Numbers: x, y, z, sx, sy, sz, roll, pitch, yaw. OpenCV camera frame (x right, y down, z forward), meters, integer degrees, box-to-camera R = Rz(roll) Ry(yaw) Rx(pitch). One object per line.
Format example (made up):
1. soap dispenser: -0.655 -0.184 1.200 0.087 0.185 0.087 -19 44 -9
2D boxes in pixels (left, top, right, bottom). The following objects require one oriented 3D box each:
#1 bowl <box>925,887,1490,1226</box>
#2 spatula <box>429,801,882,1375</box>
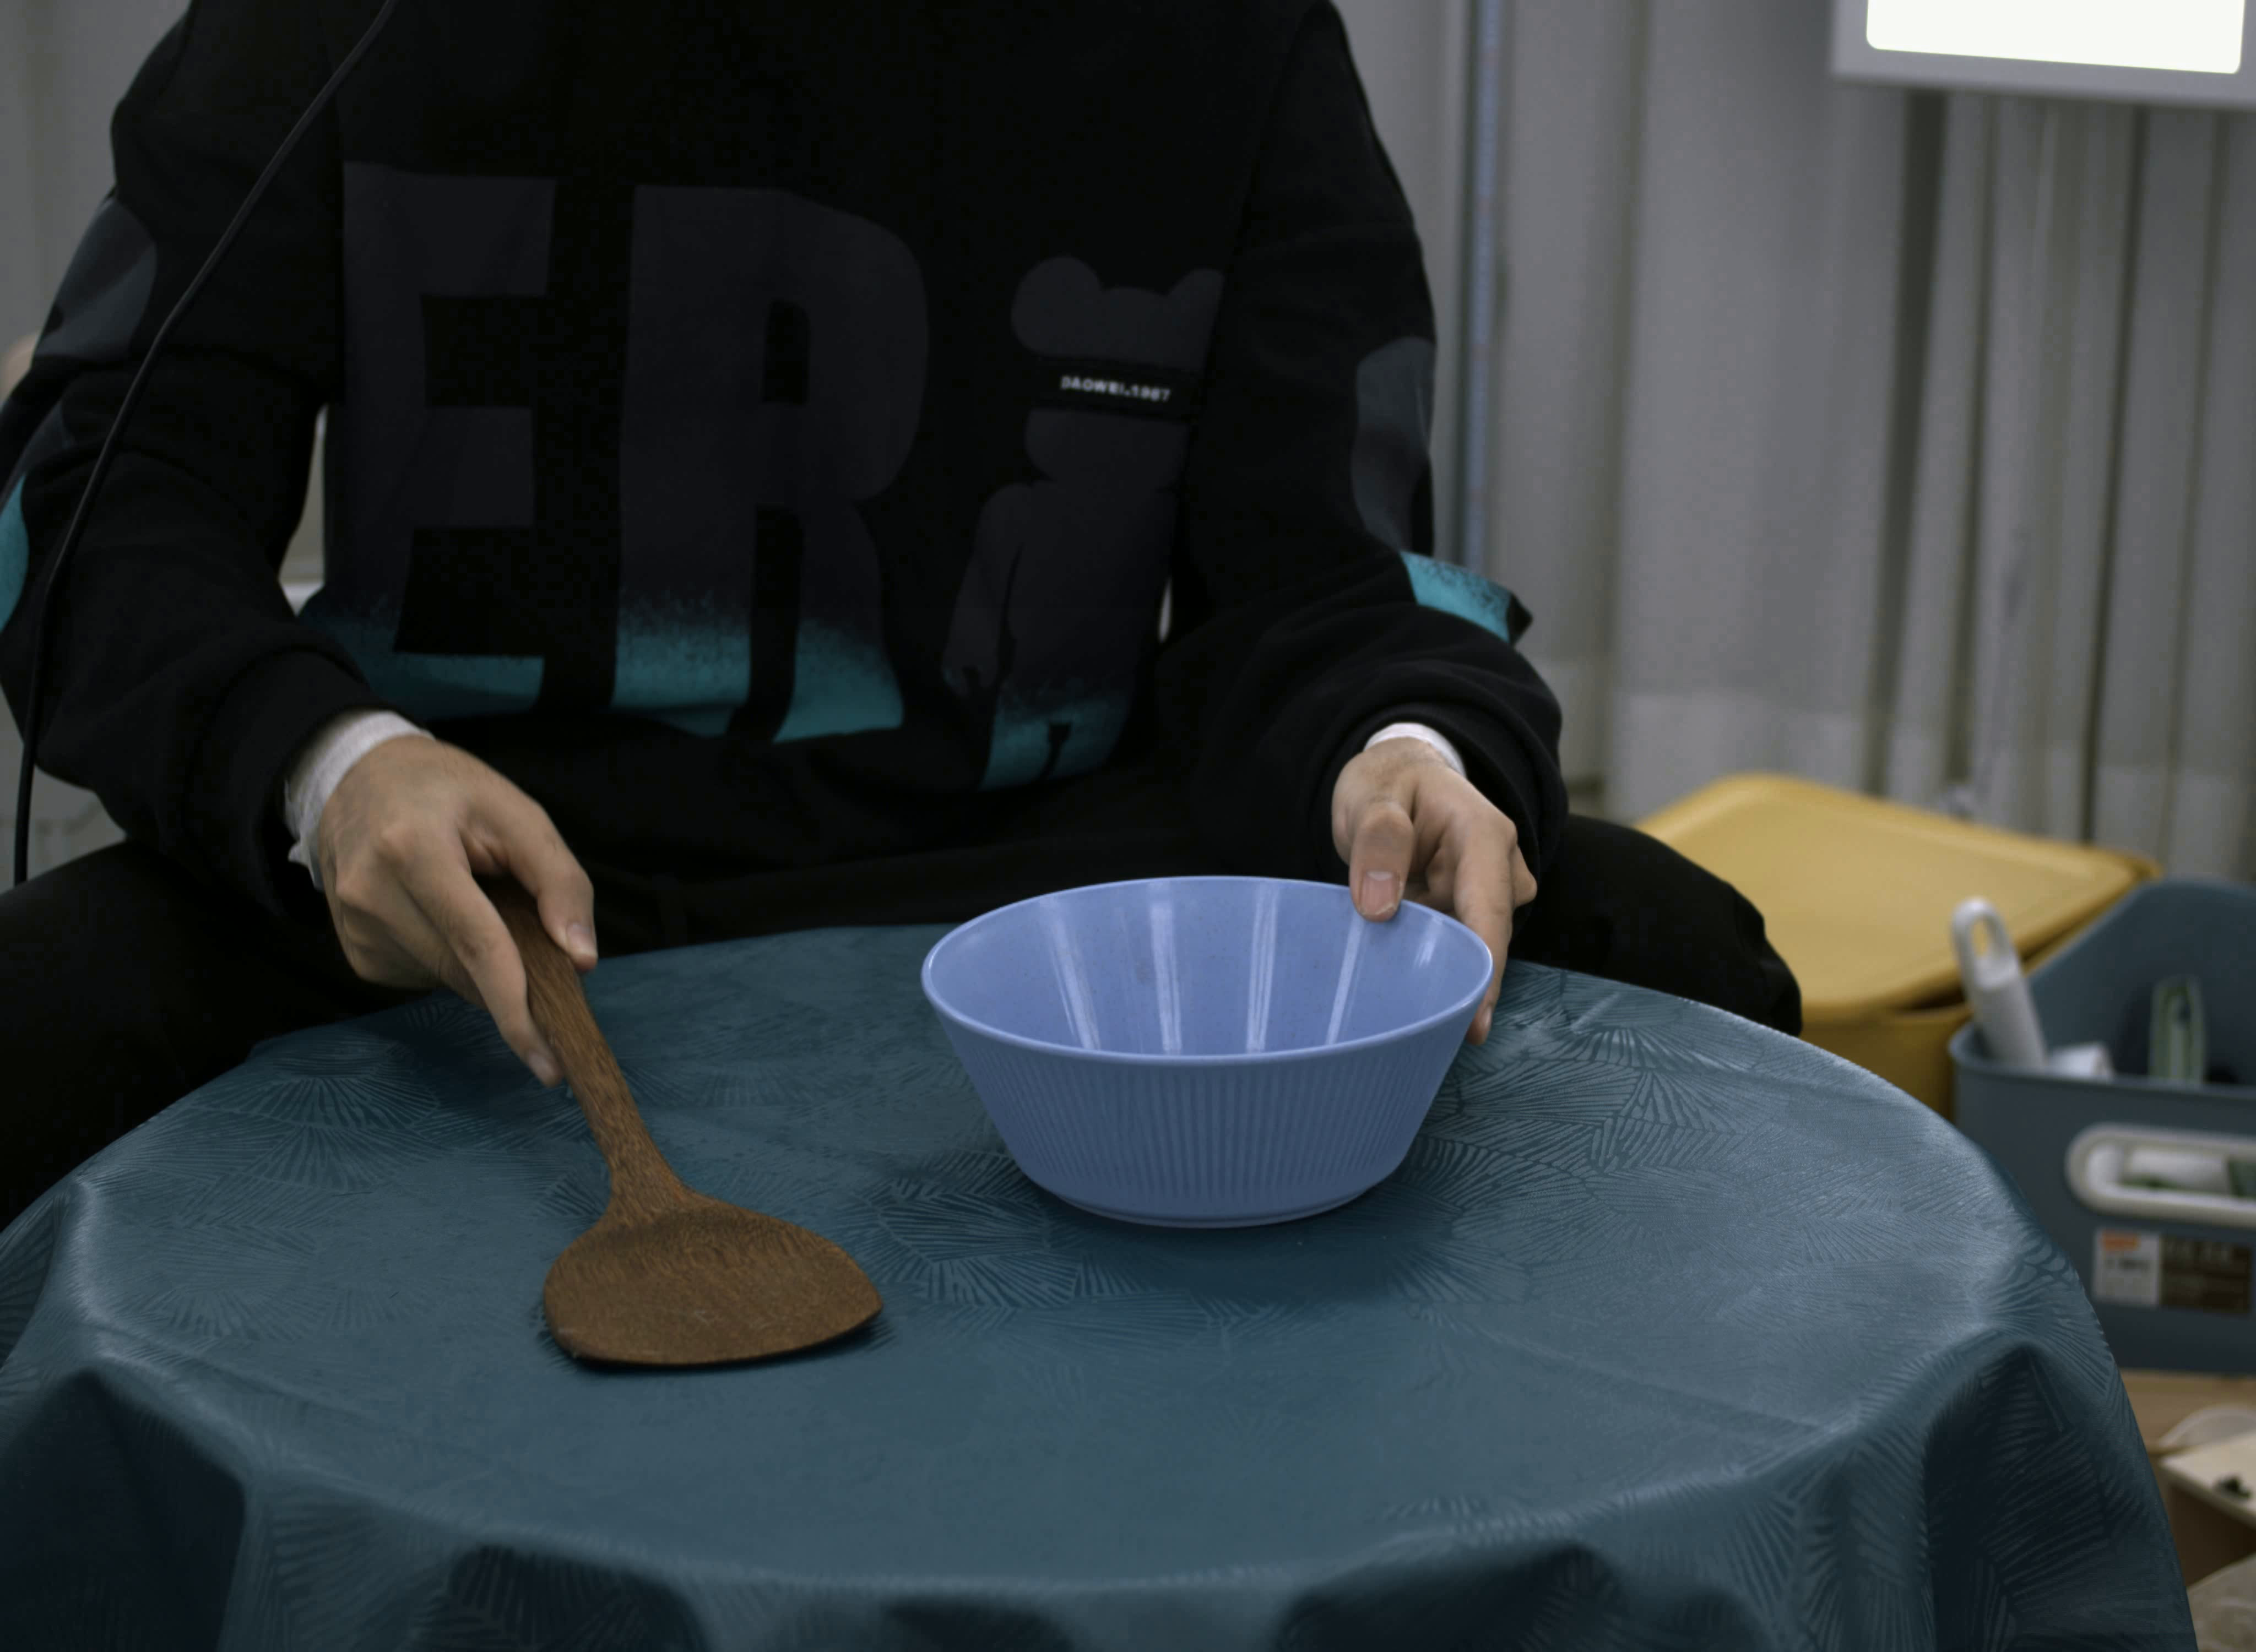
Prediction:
1. bowl: 0.025 0.074 1.631 0.175 0.071 0.175 0 16 1
2. spatula: -0.169 0.072 1.641 0.096 0.016 0.381 -5 27 -18
